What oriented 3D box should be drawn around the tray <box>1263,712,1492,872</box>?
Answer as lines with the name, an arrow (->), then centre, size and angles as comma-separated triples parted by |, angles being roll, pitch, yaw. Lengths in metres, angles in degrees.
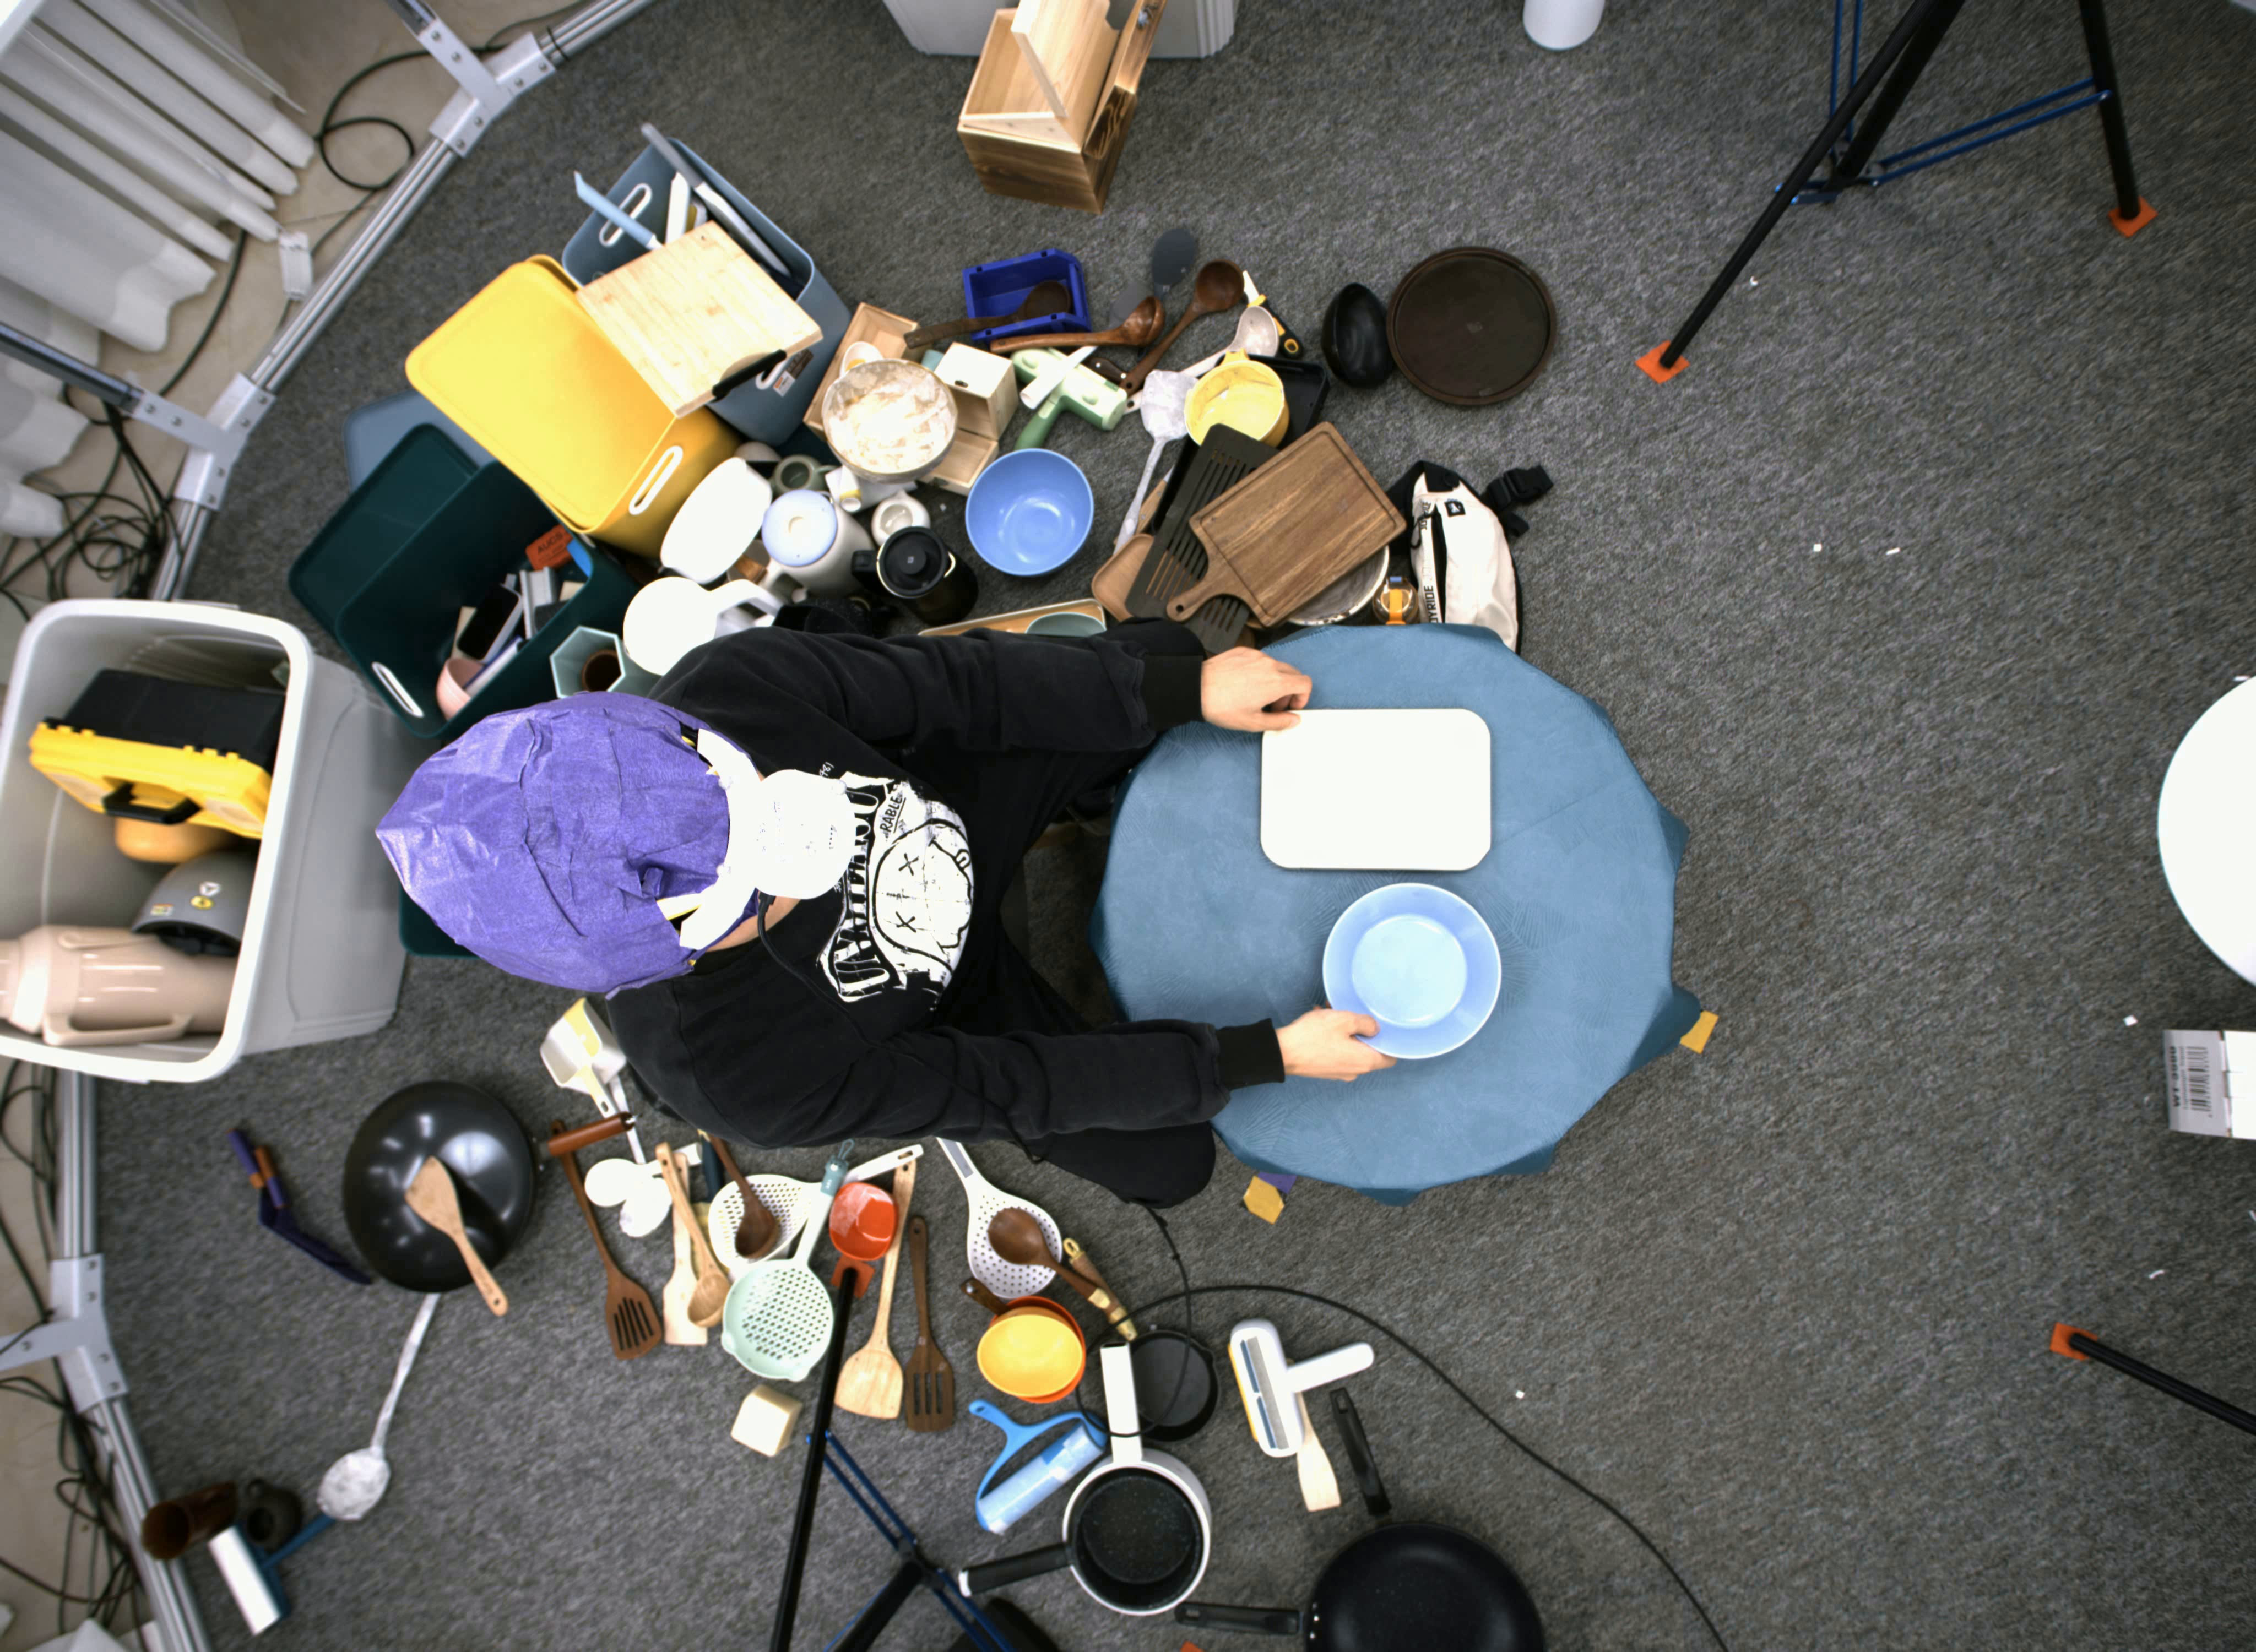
tray -> 0.264, -0.037, 1.464 | 0.240, 0.017, 0.170 | 0, 86, 10

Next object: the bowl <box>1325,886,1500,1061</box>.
bowl -> 0.290, 0.150, 1.420 | 0.177, 0.070, 0.175 | -1, 85, 9
